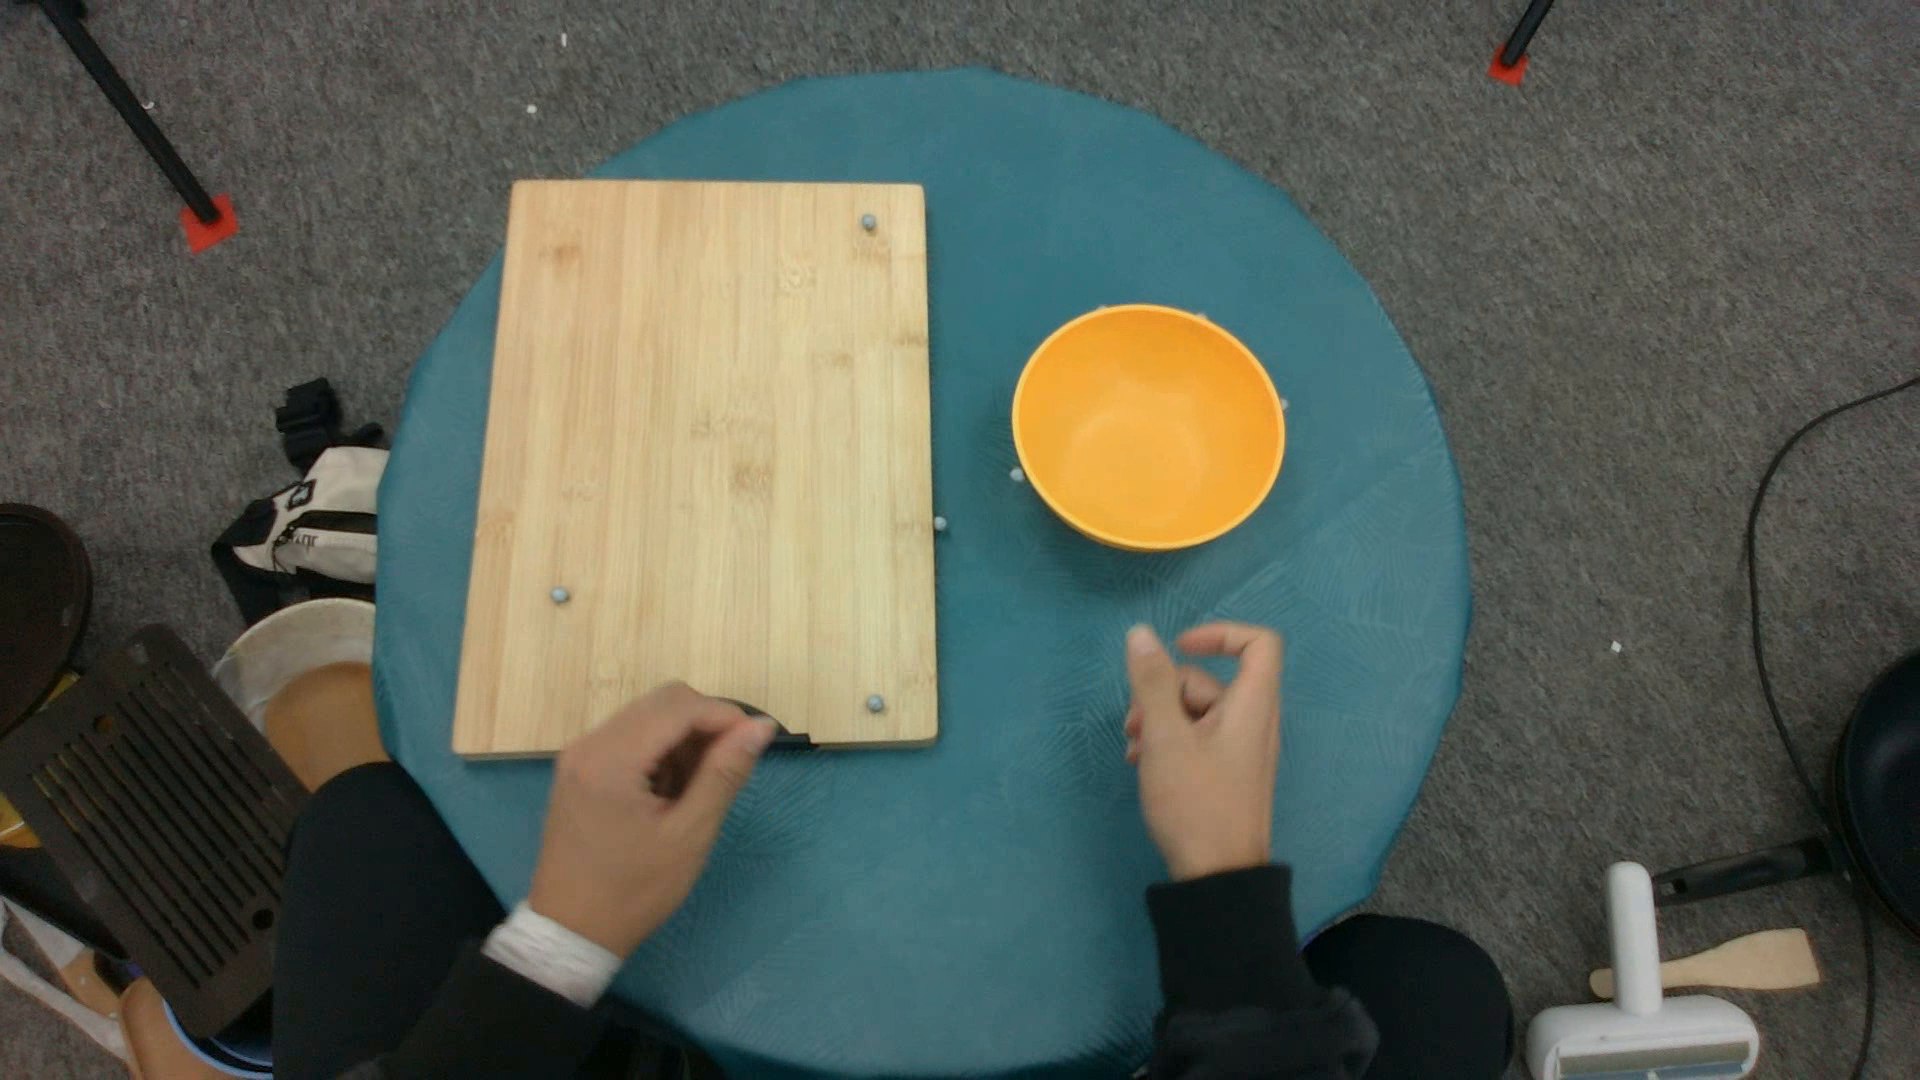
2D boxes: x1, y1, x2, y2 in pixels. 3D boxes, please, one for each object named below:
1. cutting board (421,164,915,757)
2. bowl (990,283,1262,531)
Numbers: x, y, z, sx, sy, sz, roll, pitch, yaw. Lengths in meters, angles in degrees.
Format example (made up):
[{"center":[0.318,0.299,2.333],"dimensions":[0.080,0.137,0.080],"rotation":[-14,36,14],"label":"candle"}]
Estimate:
[{"center":[-0.151,-0.057,0.753],"dimensions":[0.251,0.023,0.349],"rotation":[-2,69,-5],"label":"cutting board"},{"center":[0.087,-0.064,0.753],"dimensions":[0.145,0.060,0.146],"rotation":[1,70,-1],"label":"bowl"}]
